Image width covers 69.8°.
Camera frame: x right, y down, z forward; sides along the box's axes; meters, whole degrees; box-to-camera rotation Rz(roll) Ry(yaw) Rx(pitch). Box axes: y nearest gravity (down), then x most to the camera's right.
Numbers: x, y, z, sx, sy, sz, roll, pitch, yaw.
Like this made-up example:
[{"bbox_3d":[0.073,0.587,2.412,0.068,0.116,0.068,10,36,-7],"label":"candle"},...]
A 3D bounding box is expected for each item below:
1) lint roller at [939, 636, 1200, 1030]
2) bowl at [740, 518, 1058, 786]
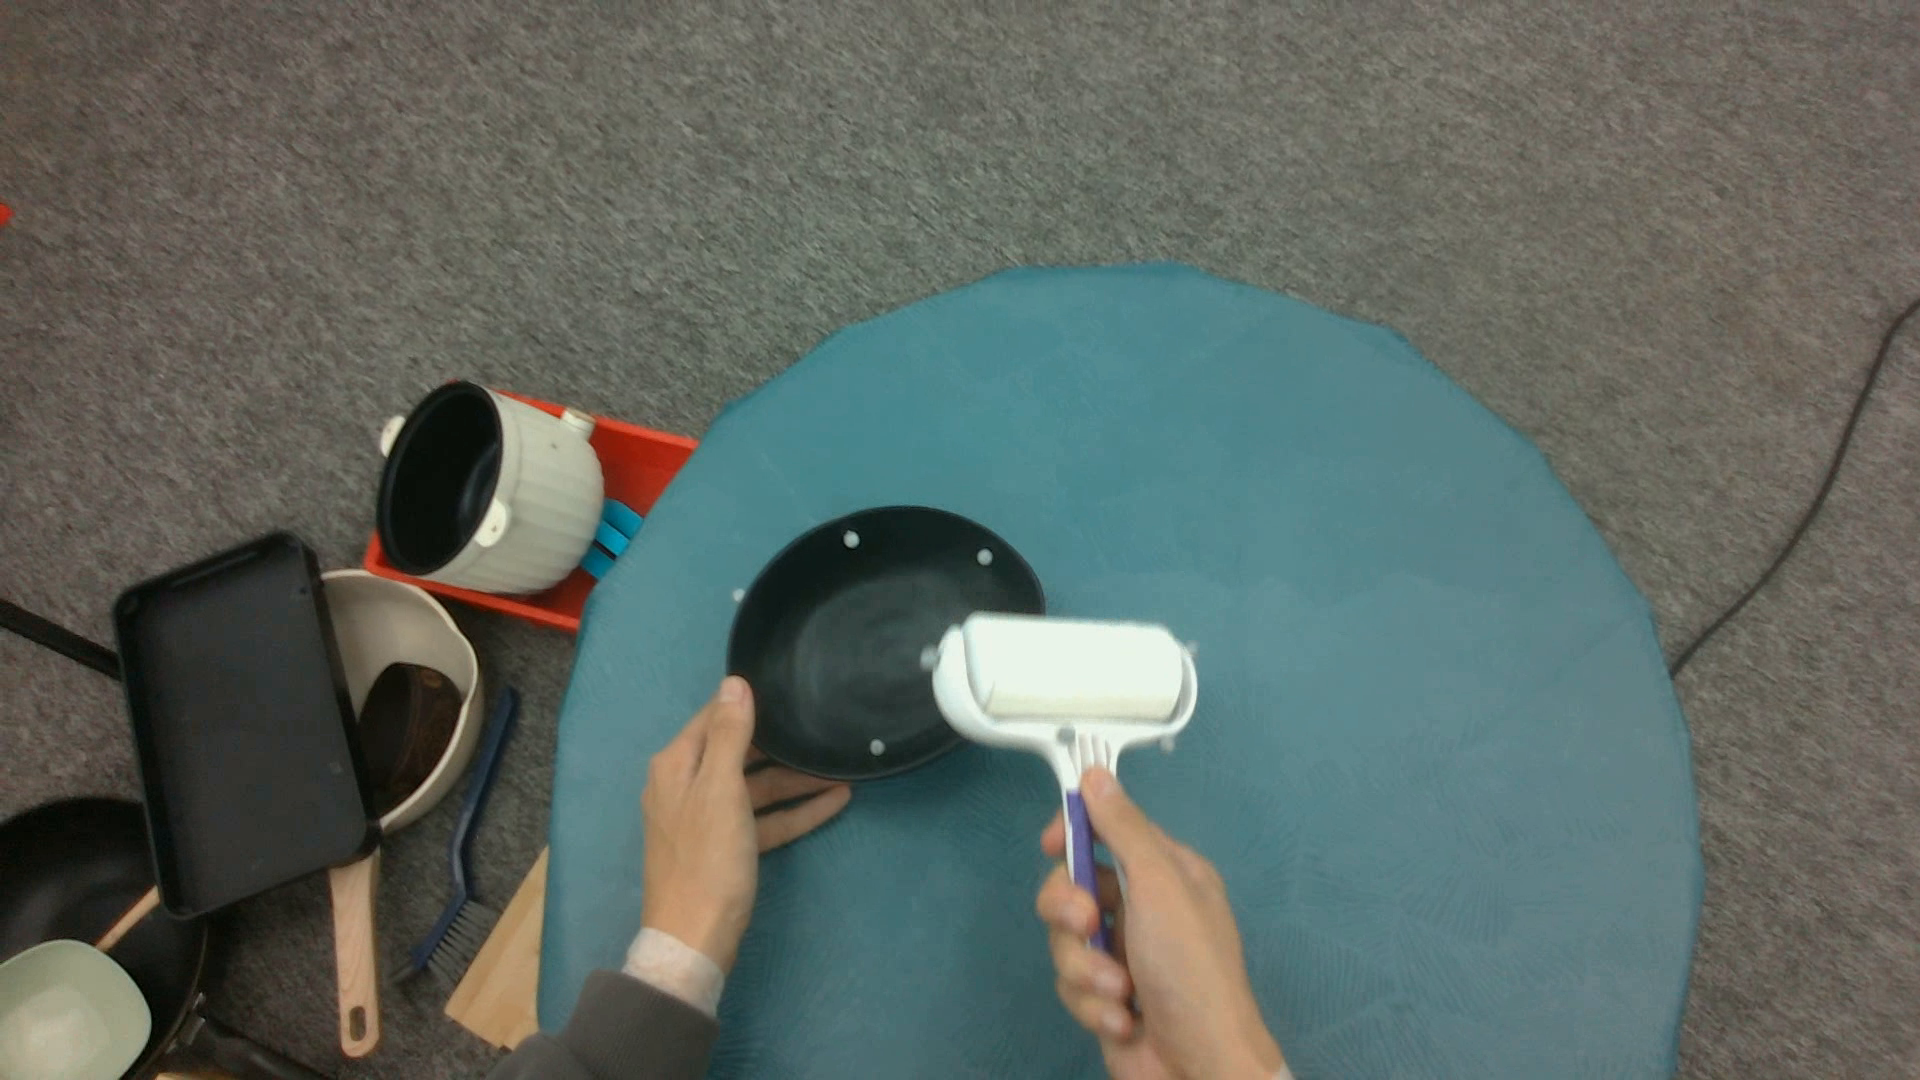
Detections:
[{"bbox_3d":[0.066,0.123,0.617,0.133,0.050,0.181,7,49,-26],"label":"lint roller"},{"bbox_3d":[-0.032,0.063,0.736,0.170,0.066,0.137,-25,71,-8],"label":"bowl"}]
